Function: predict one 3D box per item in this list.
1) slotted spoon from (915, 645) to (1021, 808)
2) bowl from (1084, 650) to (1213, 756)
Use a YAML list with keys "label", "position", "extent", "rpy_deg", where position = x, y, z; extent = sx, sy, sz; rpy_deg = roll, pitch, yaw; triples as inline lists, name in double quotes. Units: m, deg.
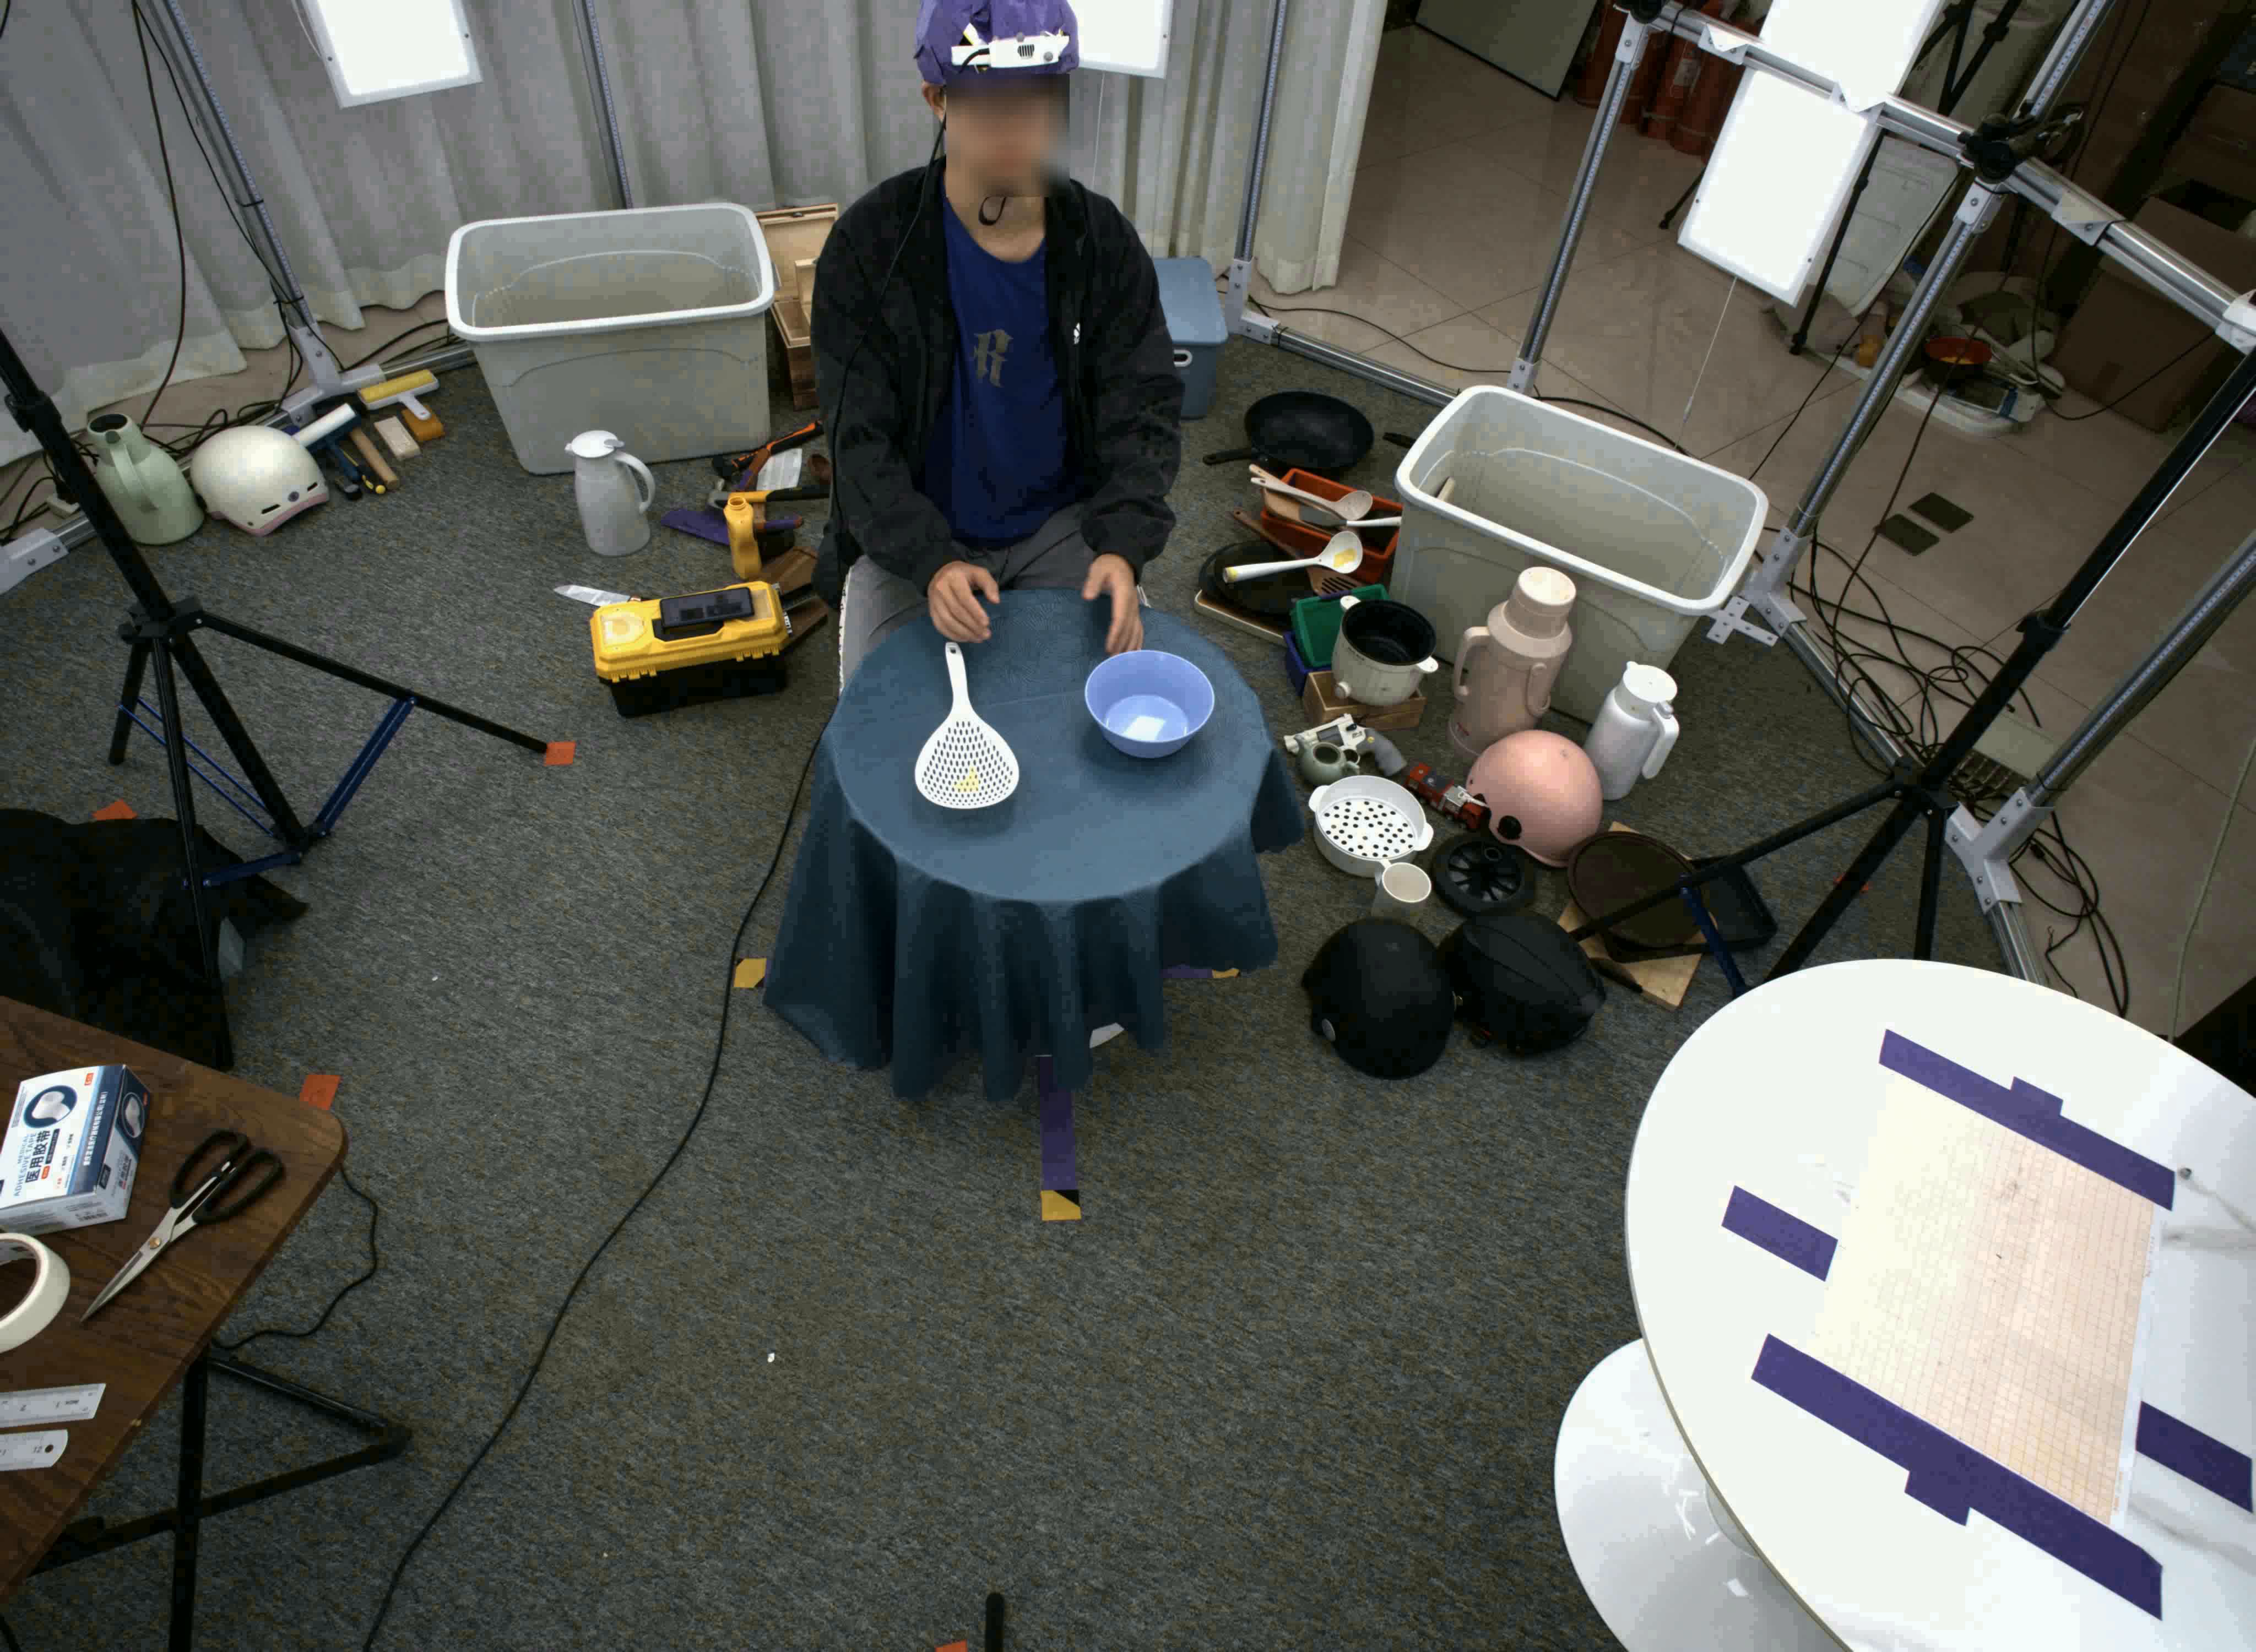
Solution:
- label: "slotted spoon"
  position: [-0.226, -0.146, 1.758]
  extent: [0.137, 0.049, 0.357]
  rpy_deg: [-8, 50, -6]
- label: "bowl"
  position: [0.026, -0.160, 1.768]
  extent: [0.176, 0.068, 0.180]
  rpy_deg: [2, 49, -2]
